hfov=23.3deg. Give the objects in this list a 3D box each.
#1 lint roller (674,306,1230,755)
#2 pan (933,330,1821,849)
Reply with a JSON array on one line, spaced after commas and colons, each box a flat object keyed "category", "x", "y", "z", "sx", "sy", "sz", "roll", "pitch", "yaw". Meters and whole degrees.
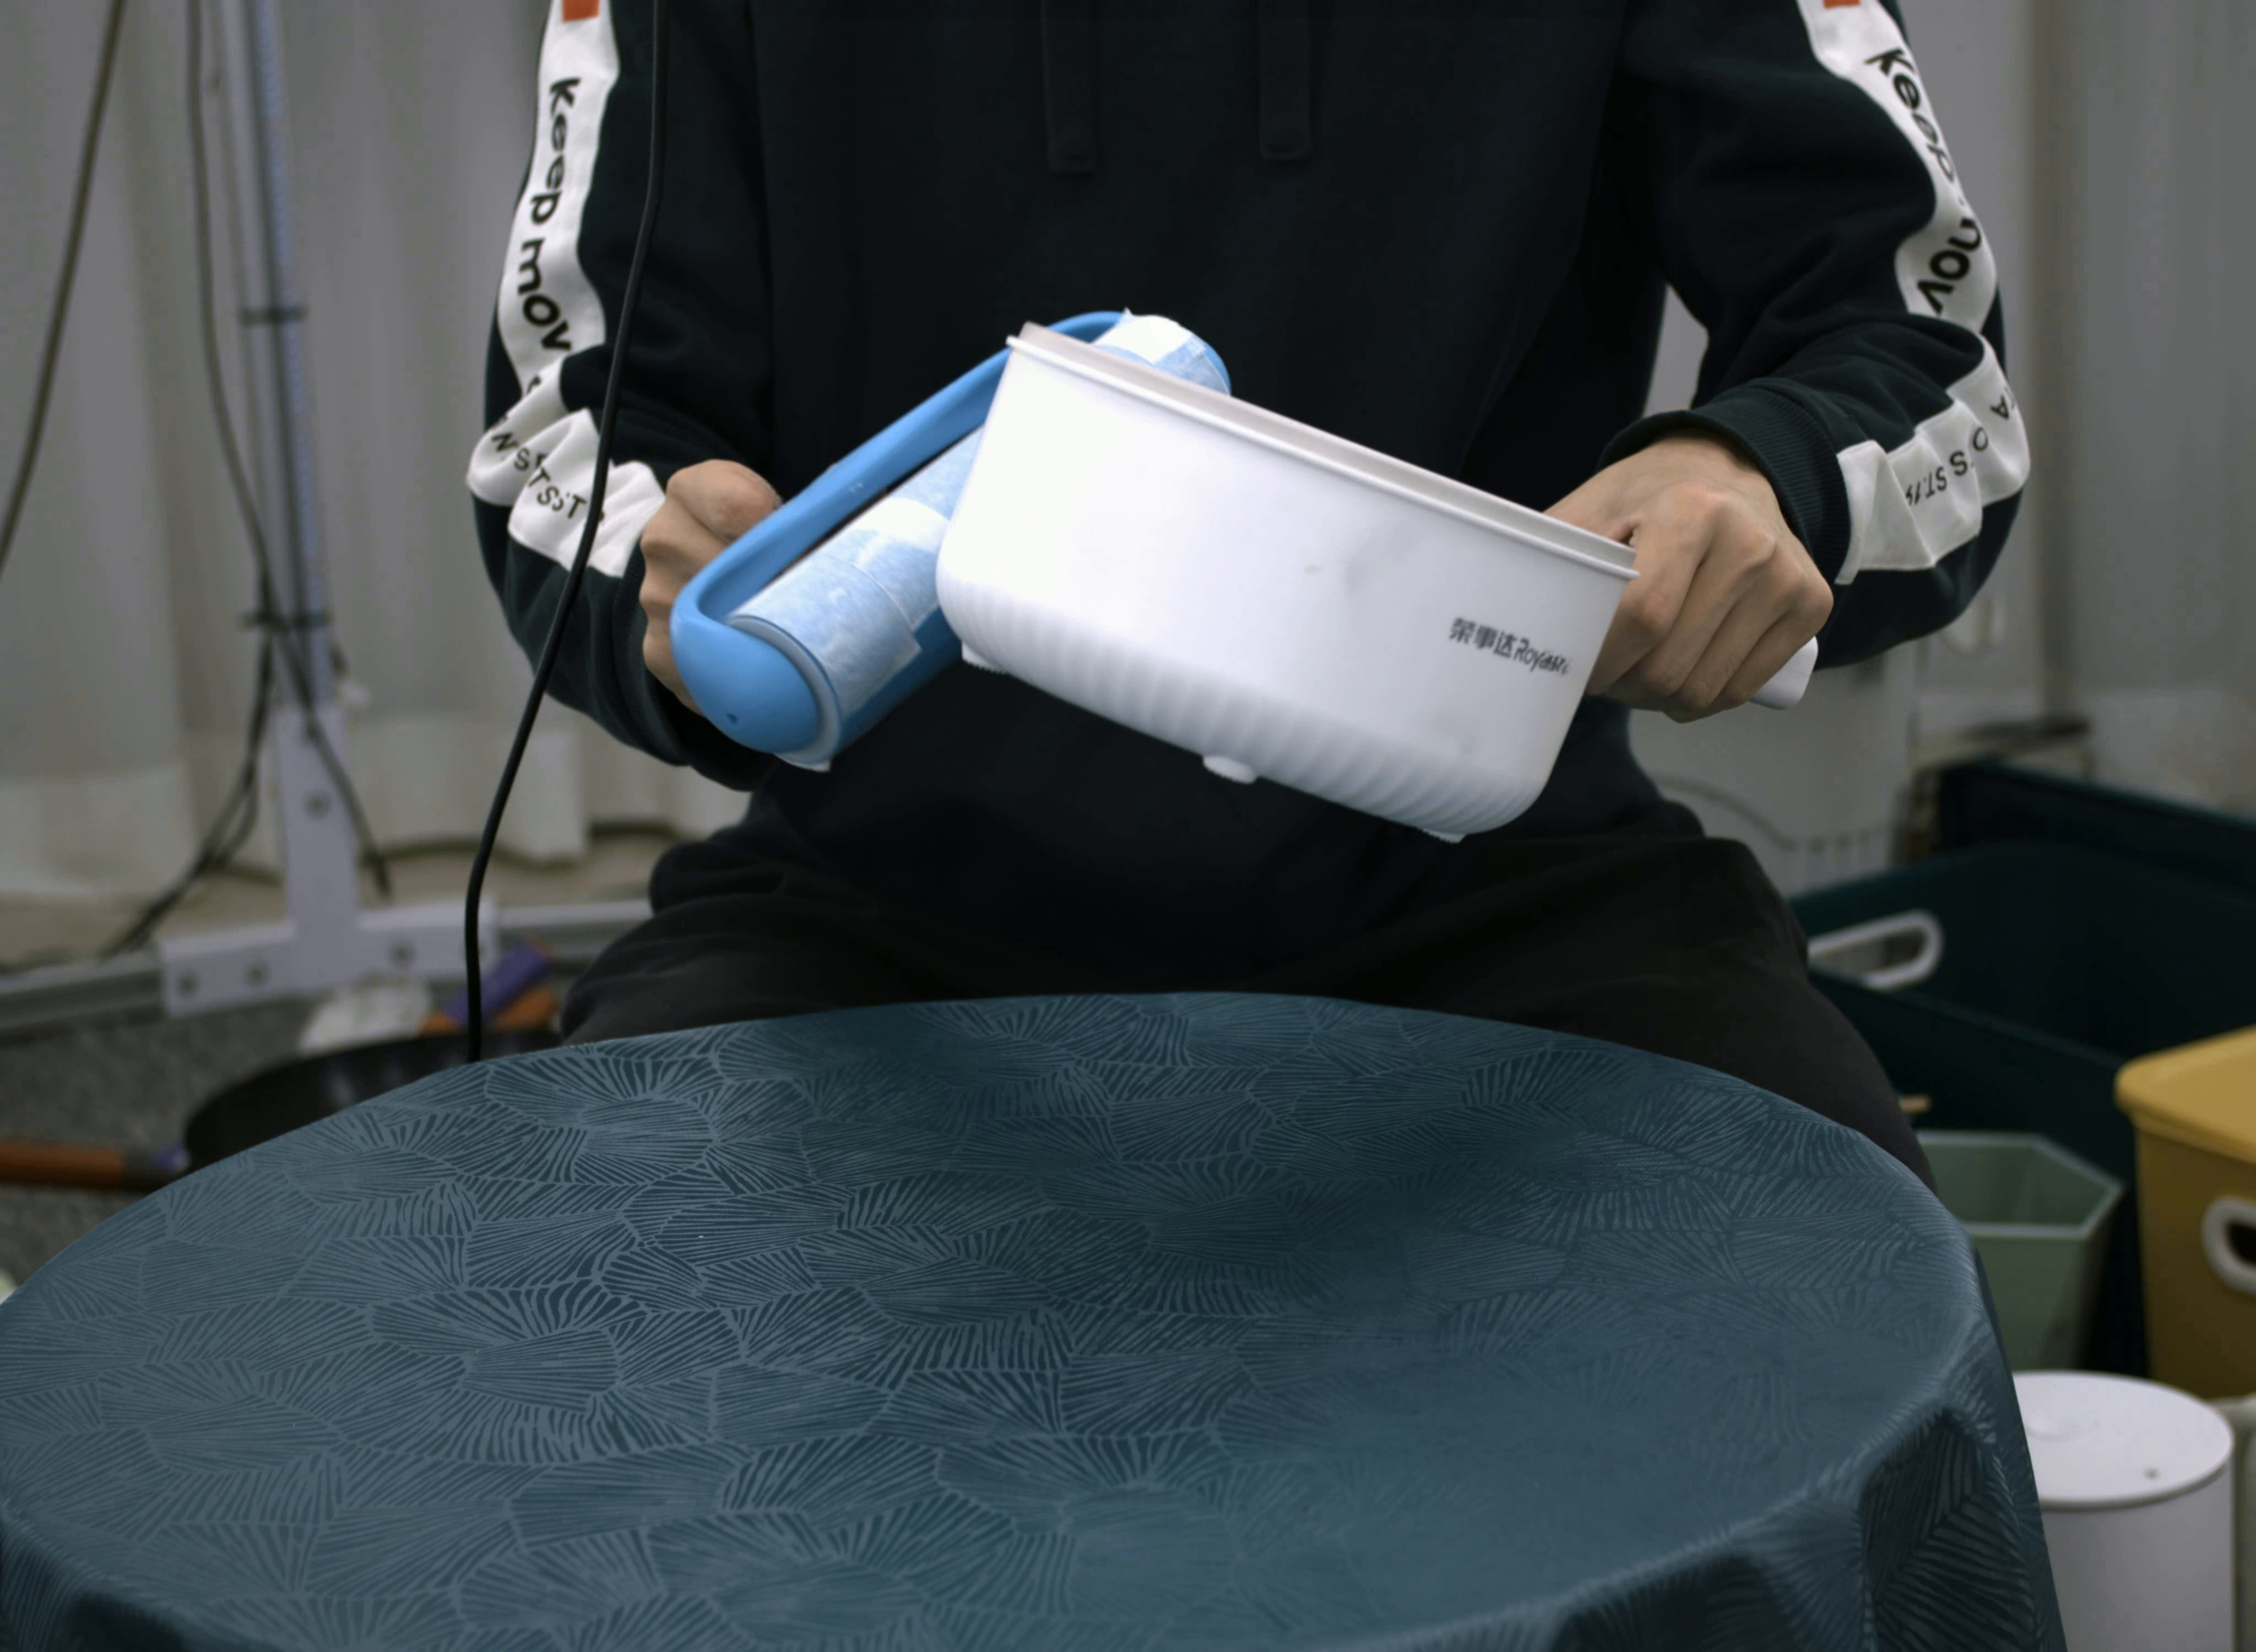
[{"category": "lint roller", "x": -0.085, "y": -0.085, "z": 1.759, "sx": 0.180, "sy": 0.067, "sz": 0.230, "roll": -14, "pitch": 22, "yaw": 49}, {"category": "pan", "x": 0.089, "y": -0.053, "z": 1.688, "sx": 0.203, "sy": 0.102, "sz": 0.351, "roll": 23, "pitch": 5, "yaw": 41}]
